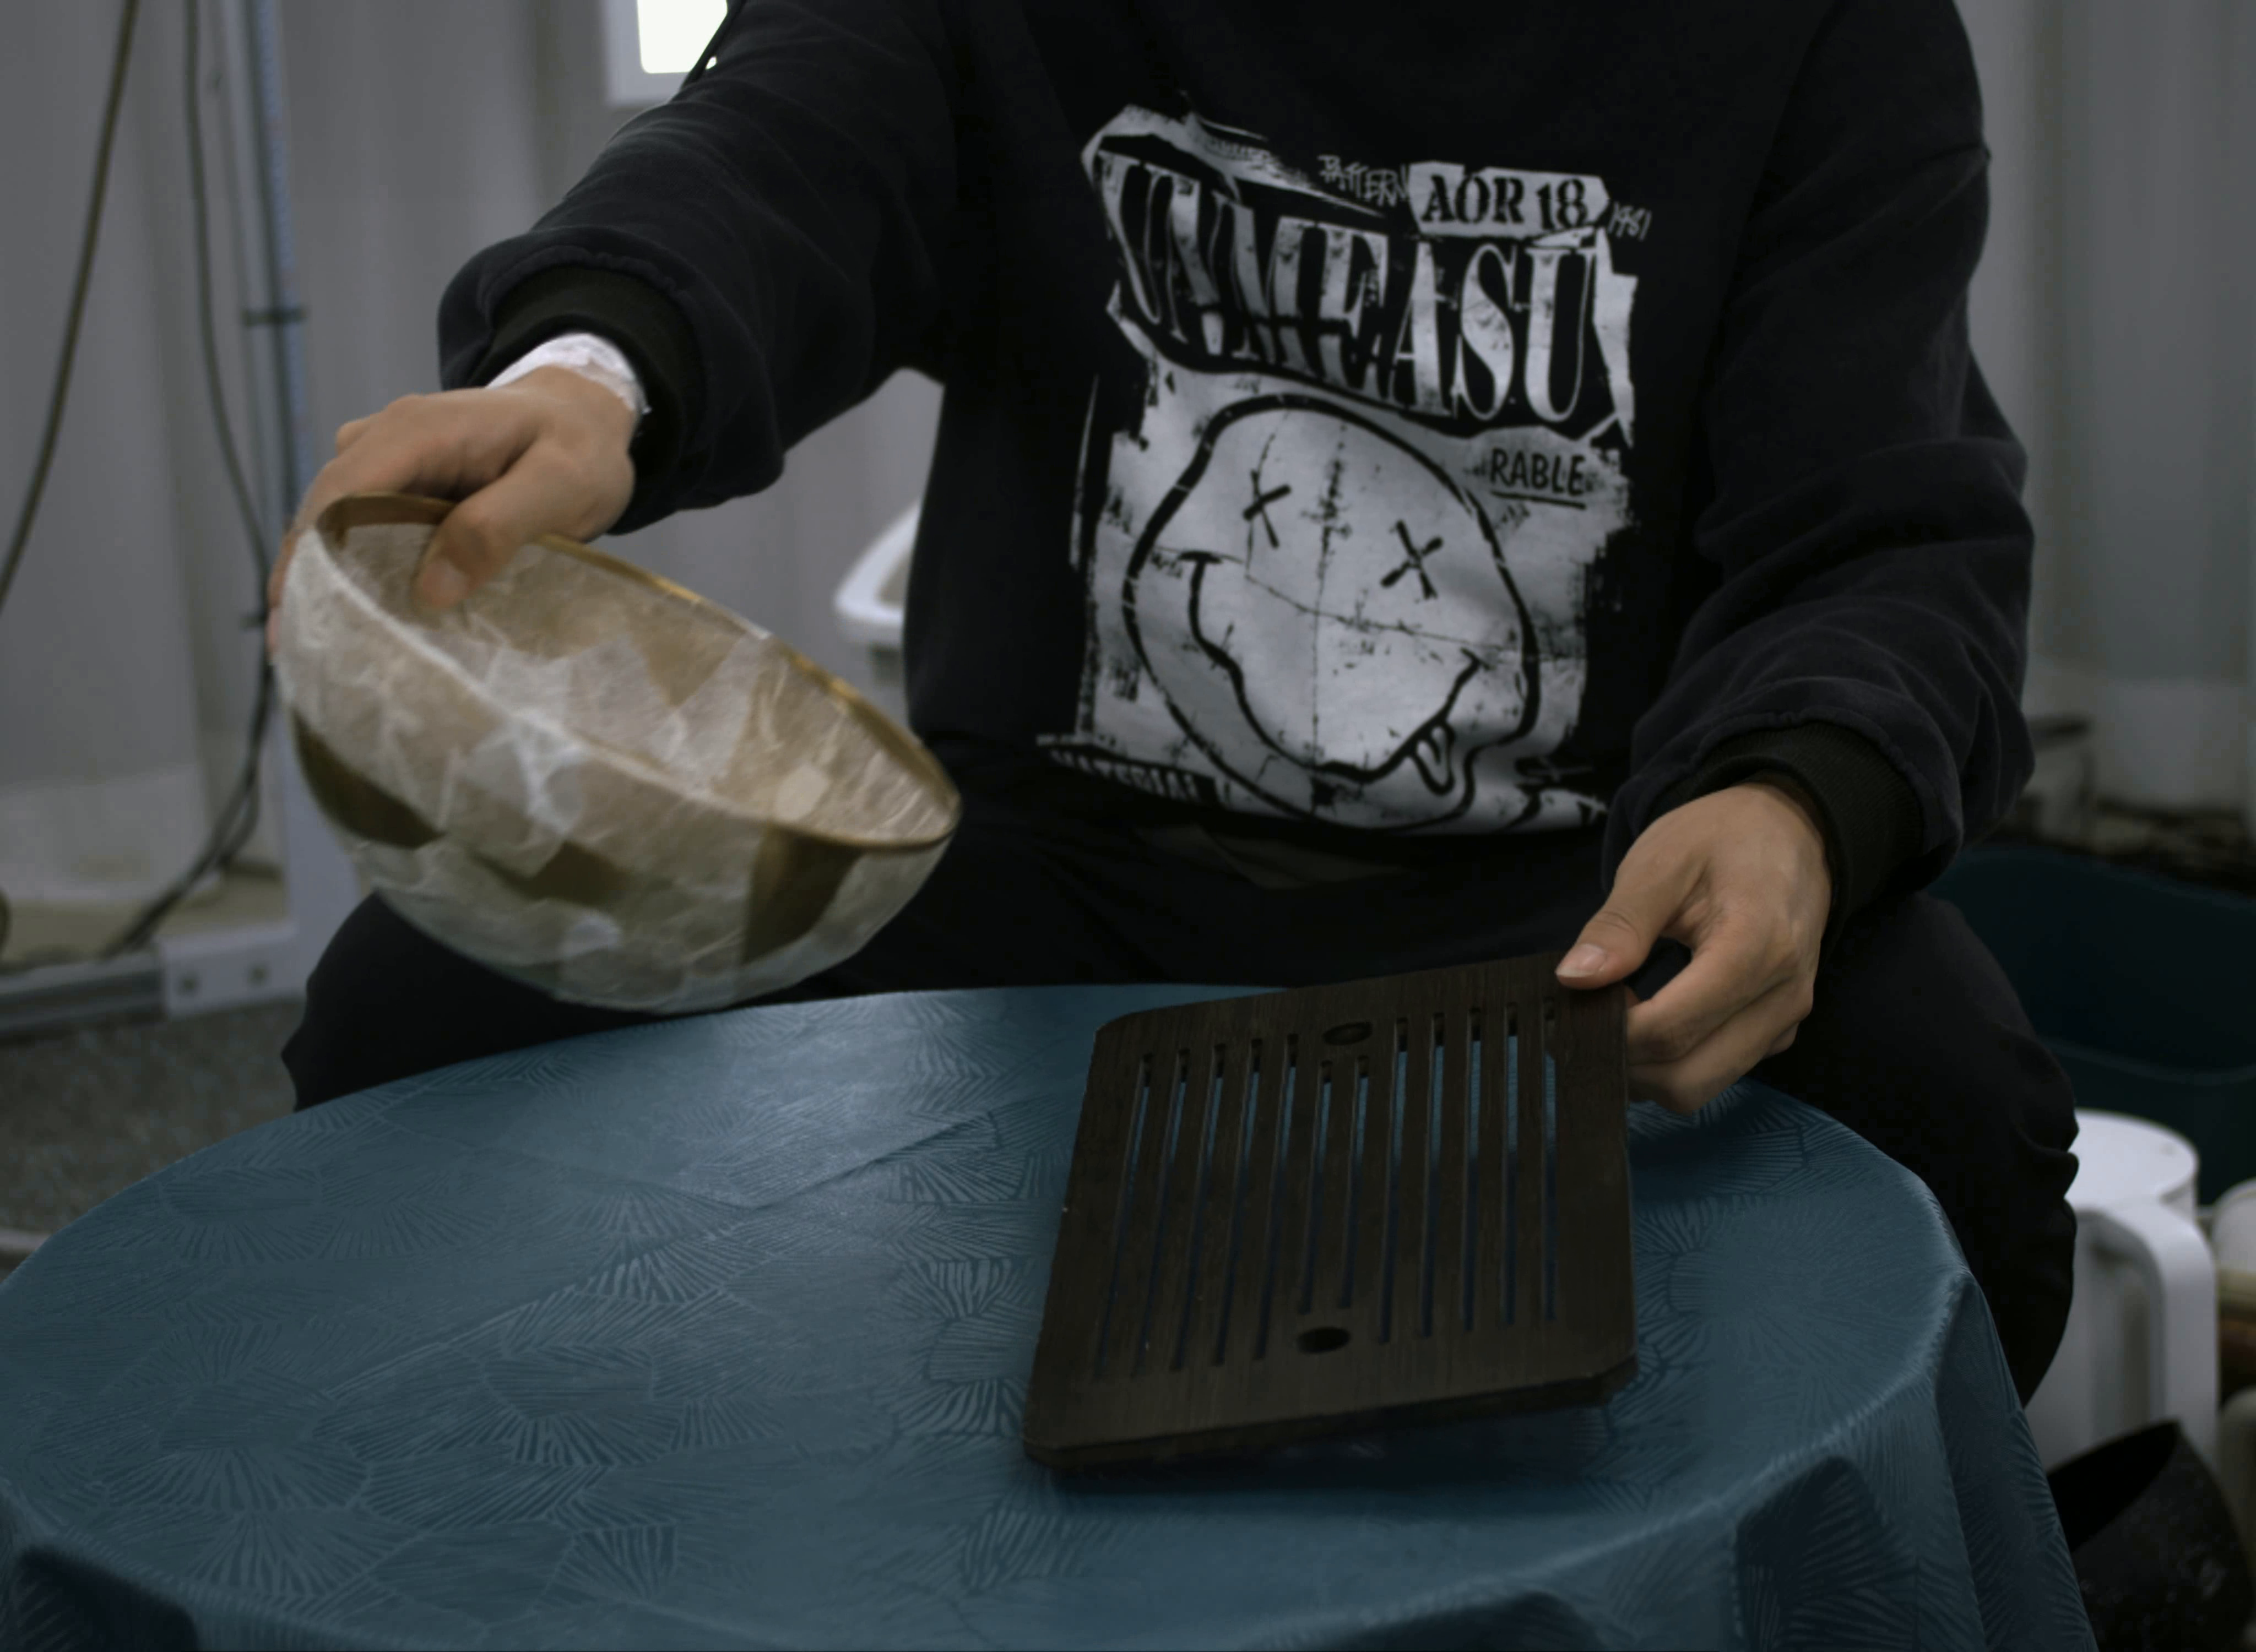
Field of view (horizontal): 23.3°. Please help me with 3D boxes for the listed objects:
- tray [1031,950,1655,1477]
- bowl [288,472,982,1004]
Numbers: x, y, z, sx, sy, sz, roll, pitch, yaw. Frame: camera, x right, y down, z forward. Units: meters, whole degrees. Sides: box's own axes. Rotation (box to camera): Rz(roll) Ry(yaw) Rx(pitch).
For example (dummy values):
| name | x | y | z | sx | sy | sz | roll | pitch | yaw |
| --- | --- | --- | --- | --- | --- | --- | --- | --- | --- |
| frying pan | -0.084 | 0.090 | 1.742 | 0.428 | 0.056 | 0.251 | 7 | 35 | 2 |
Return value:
| name | x | y | z | sx | sy | sz | roll | pitch | yaw |
| --- | --- | --- | --- | --- | --- | --- | --- | --- | --- |
| tray | 0.067 | 0.110 | 1.599 | 0.169 | 0.018 | 0.308 | -8 | 19 | 7 |
| bowl | -0.148 | -0.009 | 1.541 | 0.214 | 0.094 | 0.216 | 24 | 13 | -6 |
